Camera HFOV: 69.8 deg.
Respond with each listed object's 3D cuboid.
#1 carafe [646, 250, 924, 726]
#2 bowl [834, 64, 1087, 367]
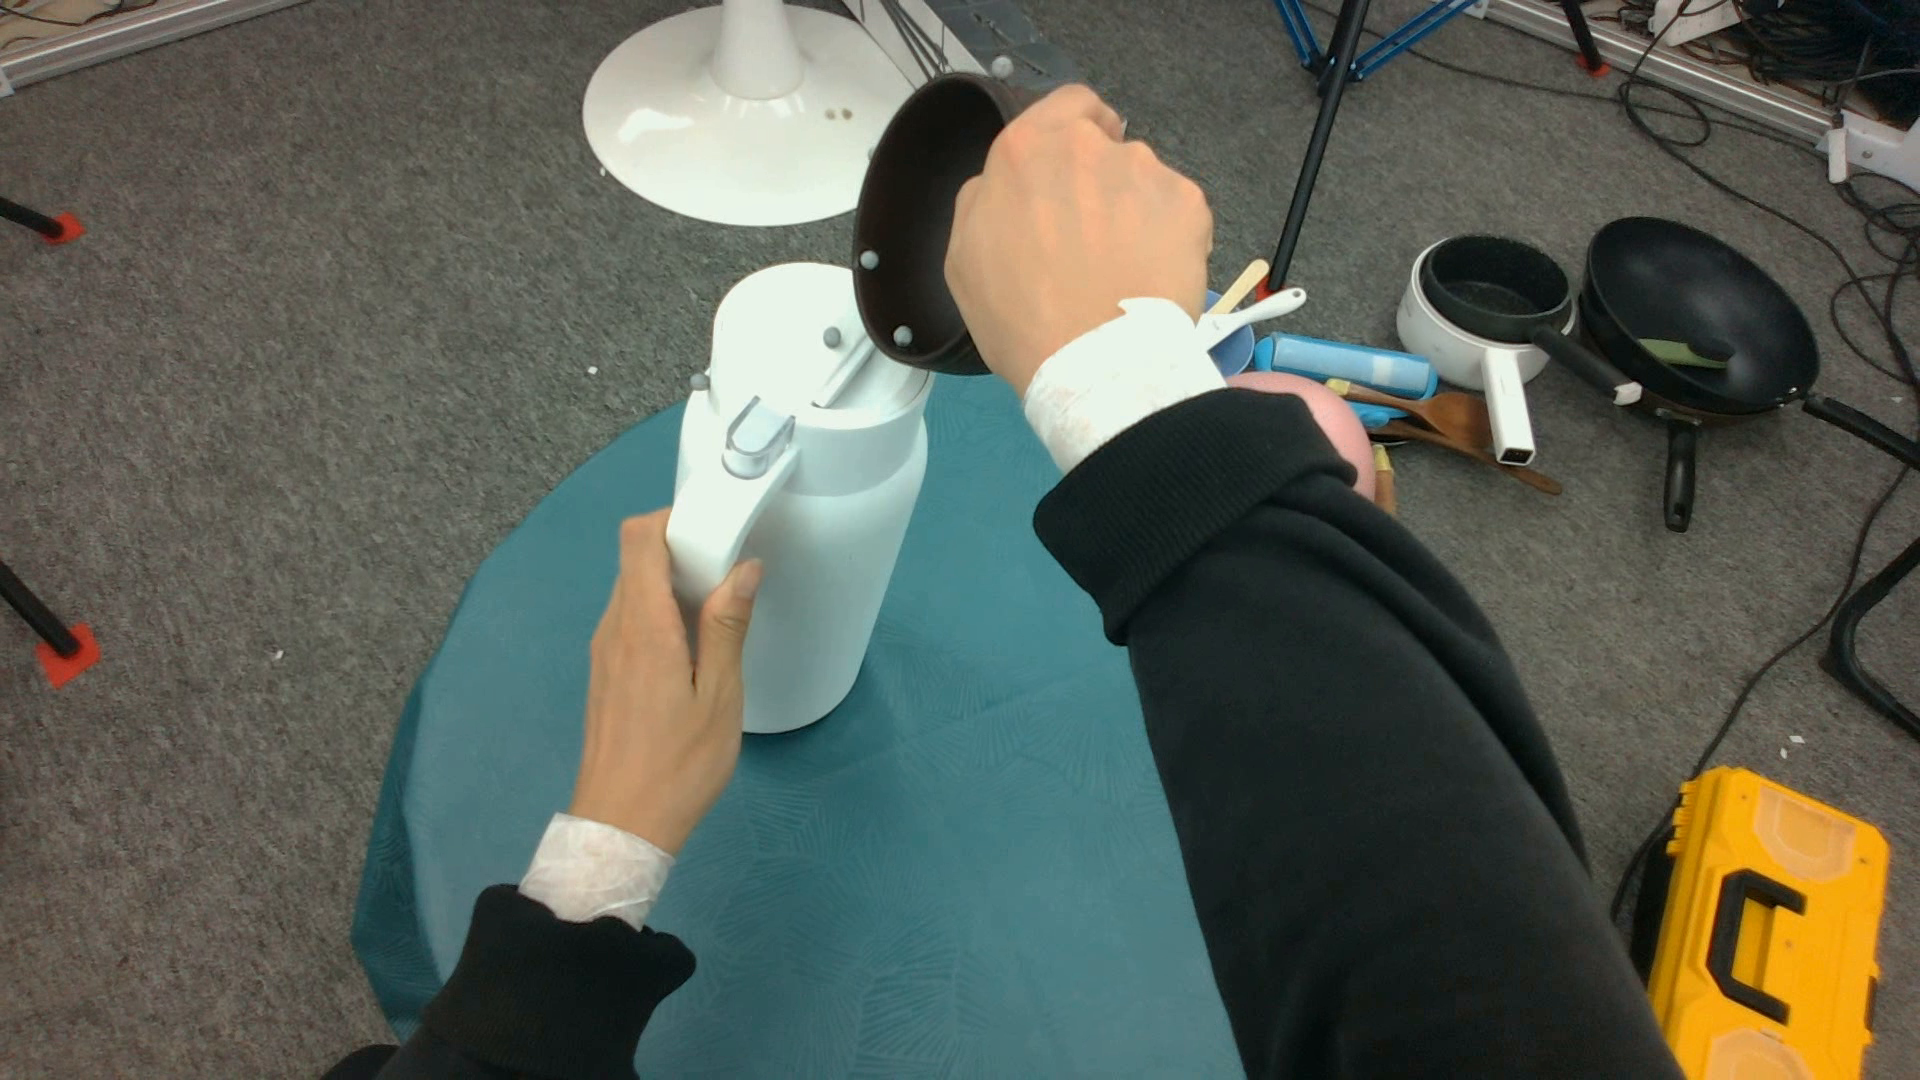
[{"bbox_3d":[-0.099,-0.004,0.690,0.124,0.267,0.174,28,52,2],"label":"carafe"},{"bbox_3d":[0.007,-0.129,0.568,0.070,0.117,0.118,4,48,-38],"label":"bowl"}]
